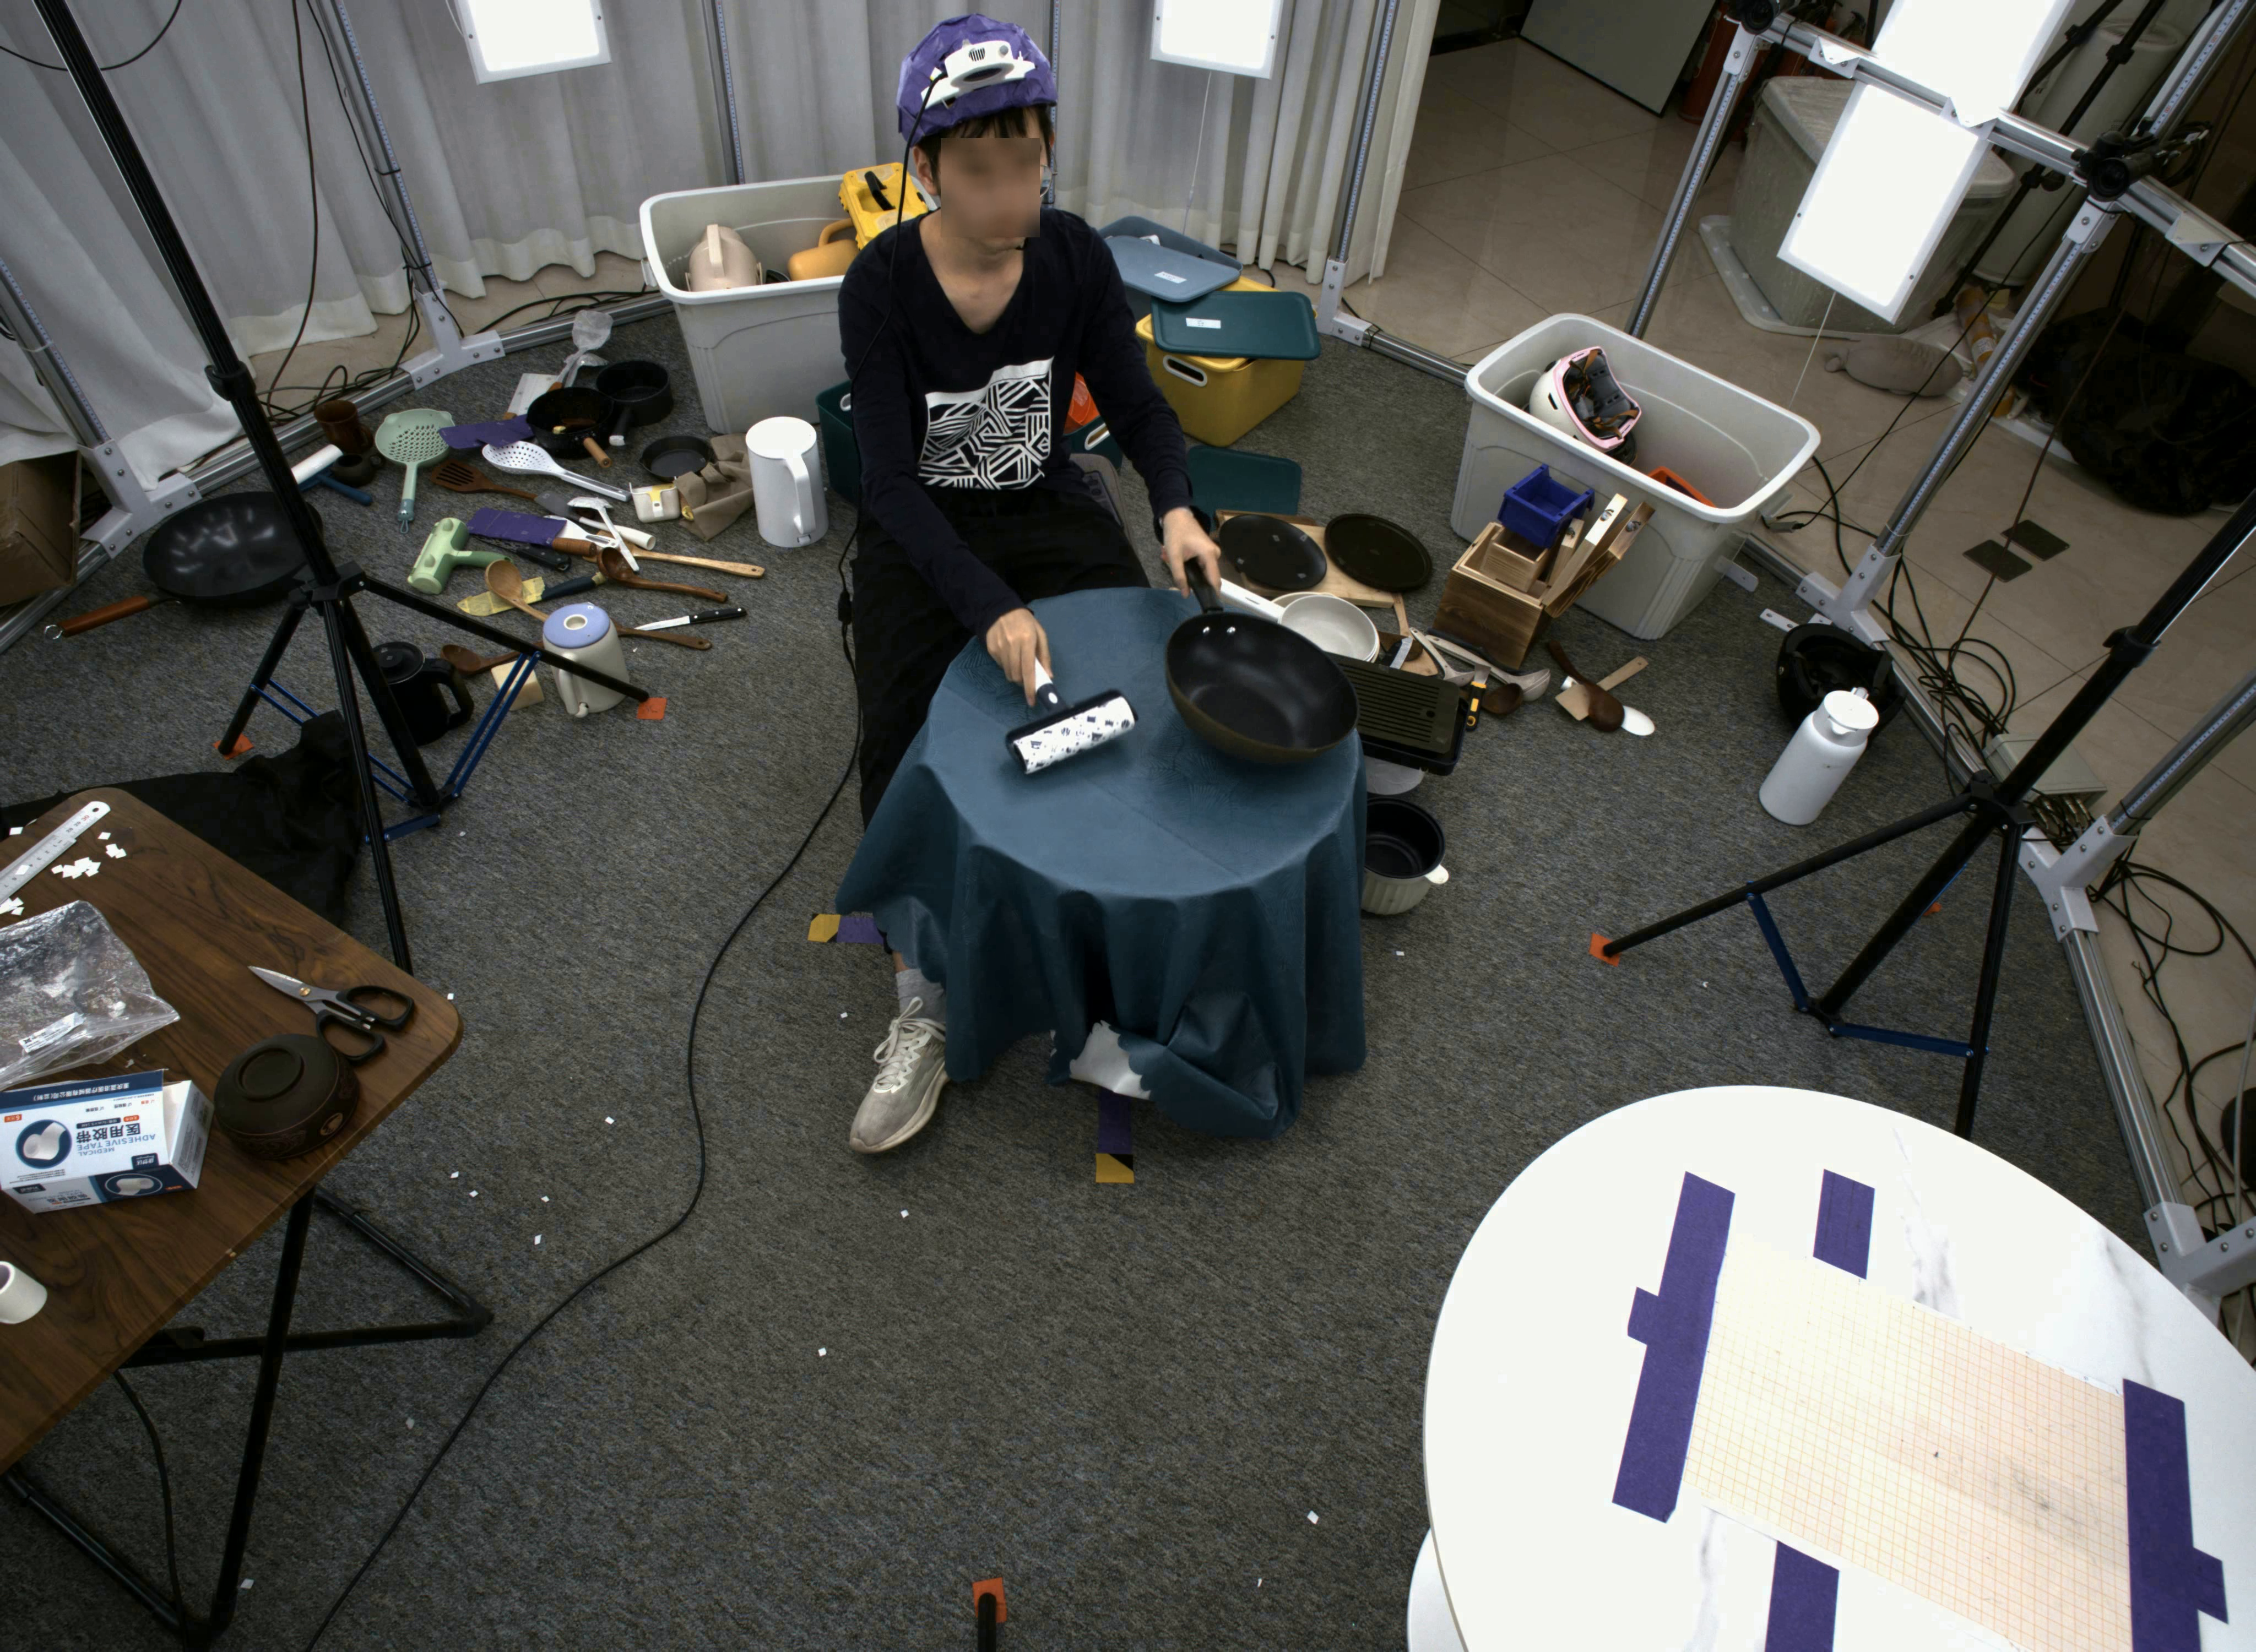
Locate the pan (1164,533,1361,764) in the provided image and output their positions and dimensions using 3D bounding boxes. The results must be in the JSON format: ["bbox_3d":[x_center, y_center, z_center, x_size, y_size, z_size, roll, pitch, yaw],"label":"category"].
[{"bbox_3d":[0.138,-0.243,1.804,0.287,0.085,0.474,-4,48,-27],"label":"pan"}]

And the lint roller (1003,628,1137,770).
[{"bbox_3d":[-0.119,-0.197,1.772,0.176,0.049,0.252,-26,55,-12],"label":"lint roller"}]
